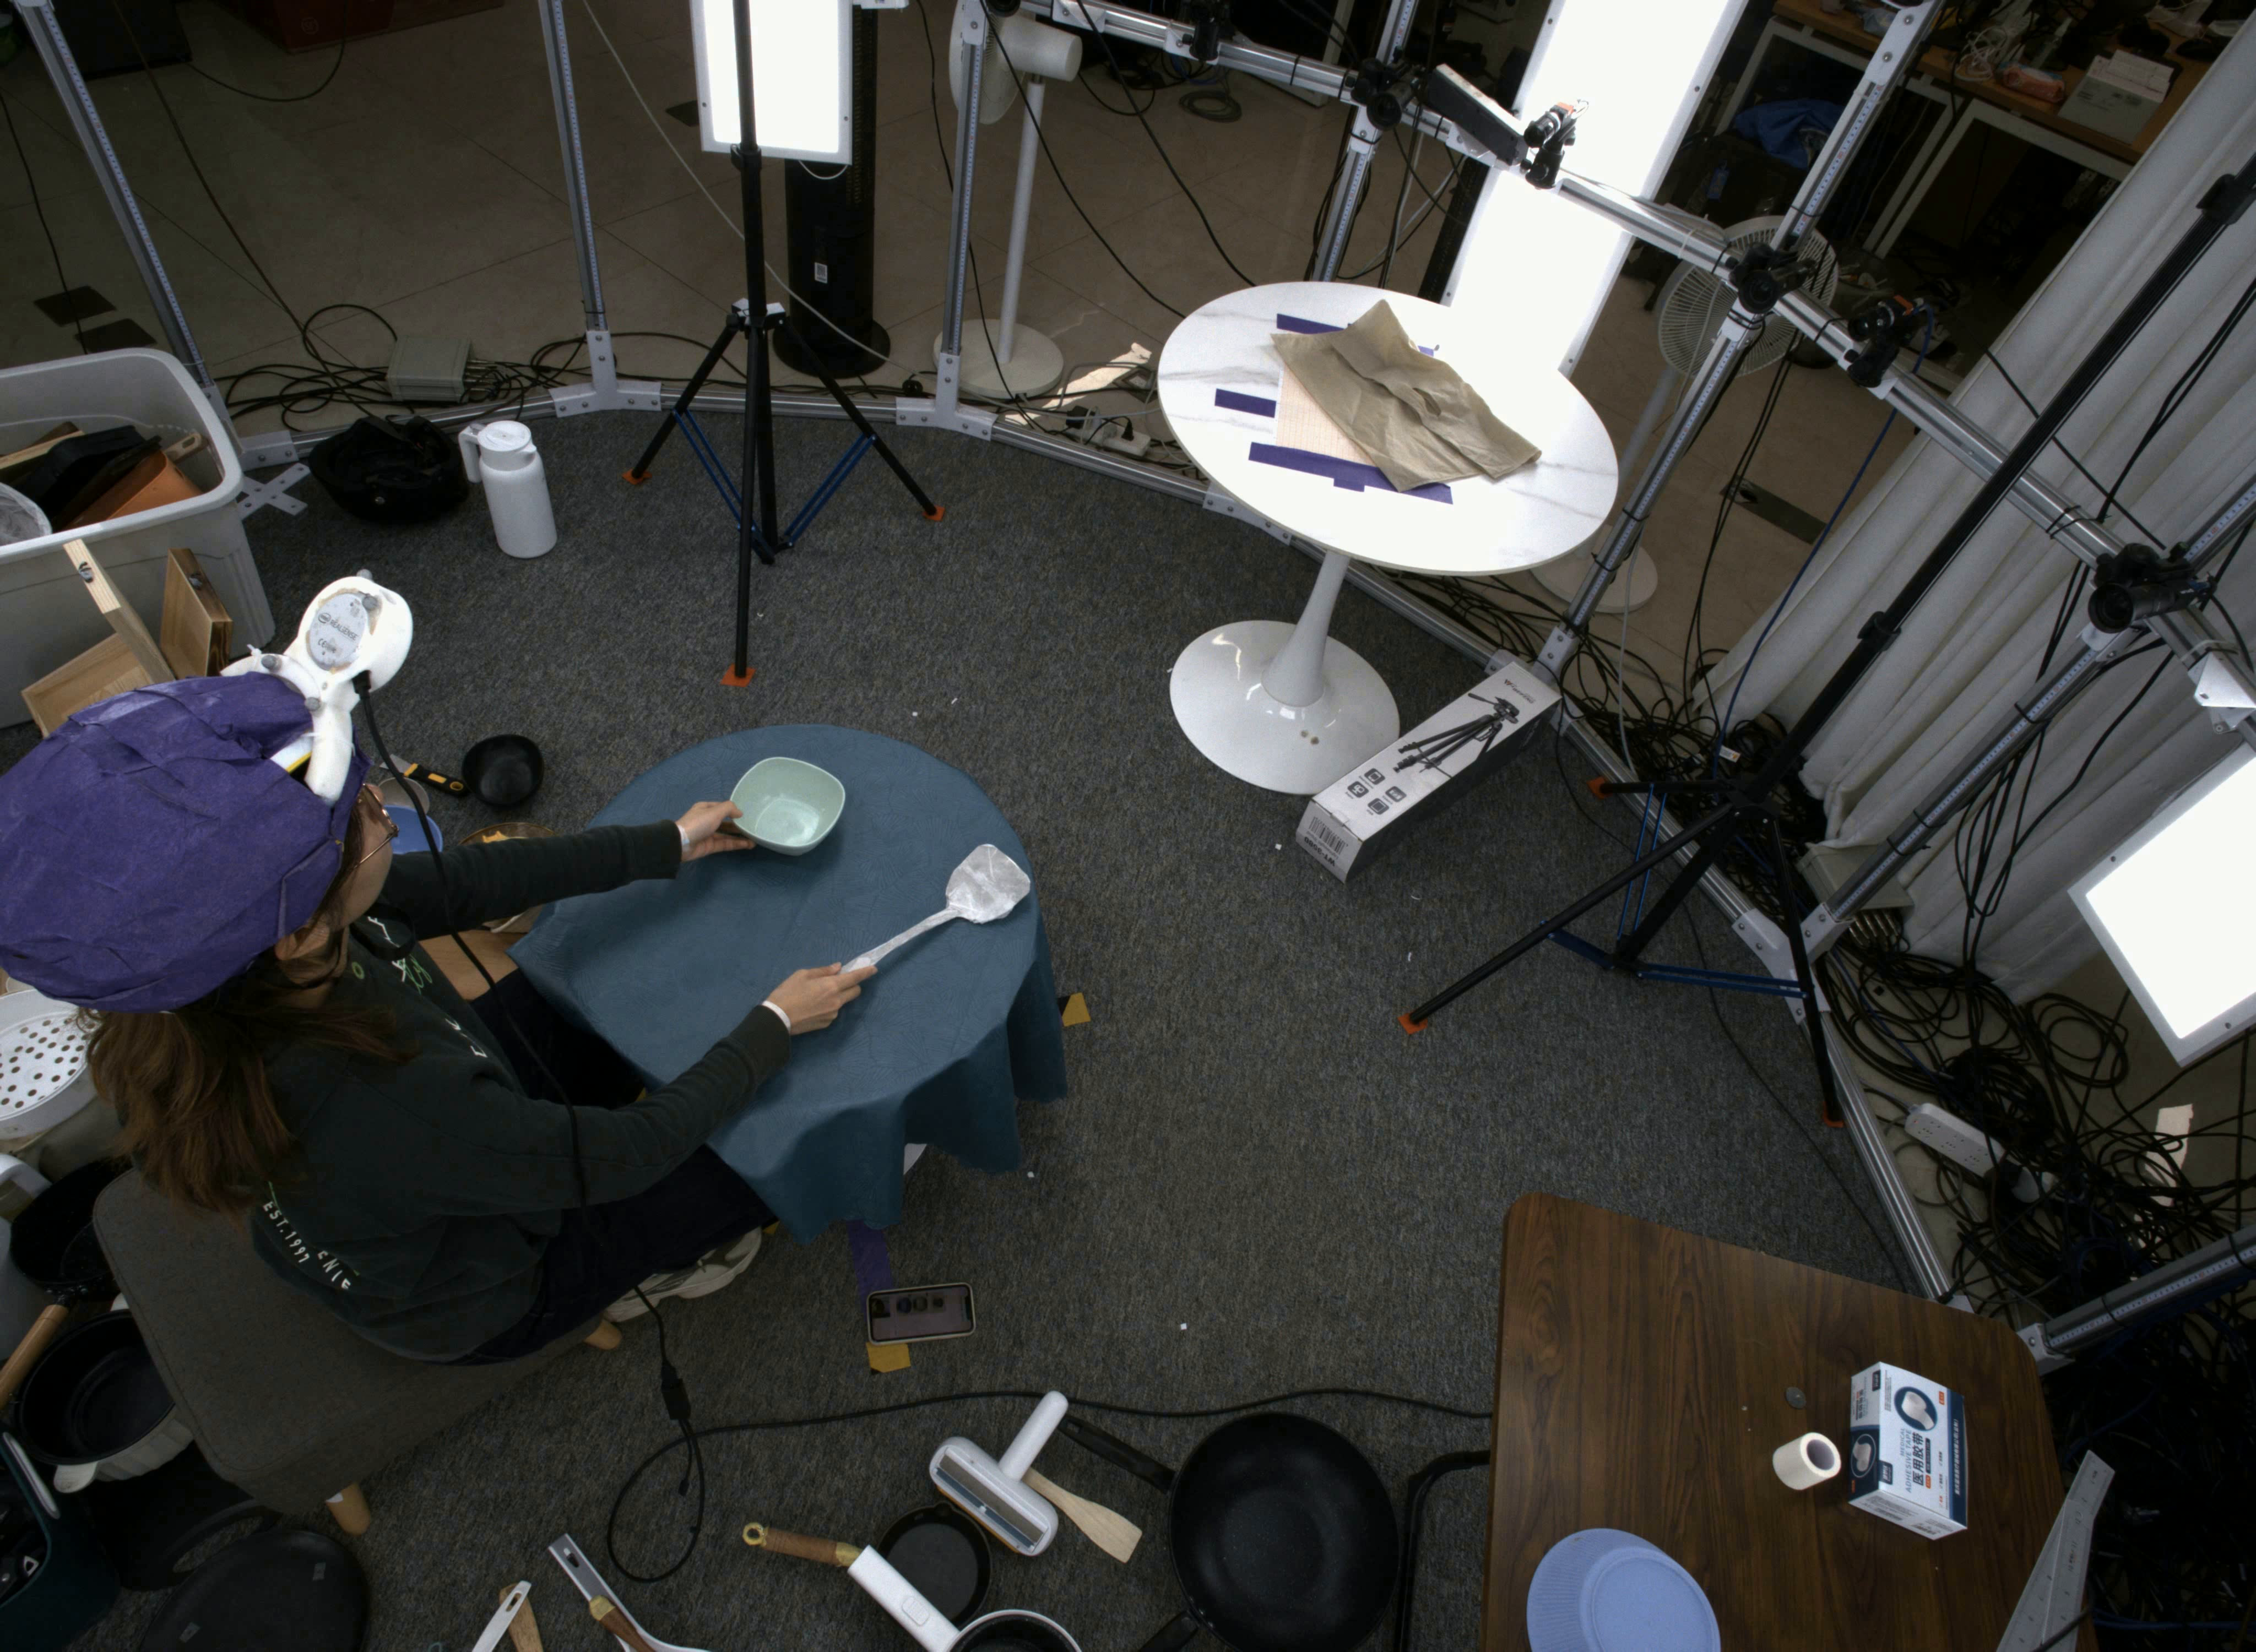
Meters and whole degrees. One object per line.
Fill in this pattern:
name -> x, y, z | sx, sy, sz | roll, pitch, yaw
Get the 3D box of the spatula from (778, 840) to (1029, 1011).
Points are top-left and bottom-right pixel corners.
spatula -> -0.280, 0.131, 1.632 | 0.096, 0.045, 0.366 | 45, 51, 17

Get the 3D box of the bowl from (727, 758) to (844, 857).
bowl -> -0.448, -0.015, 1.697 | 0.151, 0.060, 0.148 | 10, 49, -10
